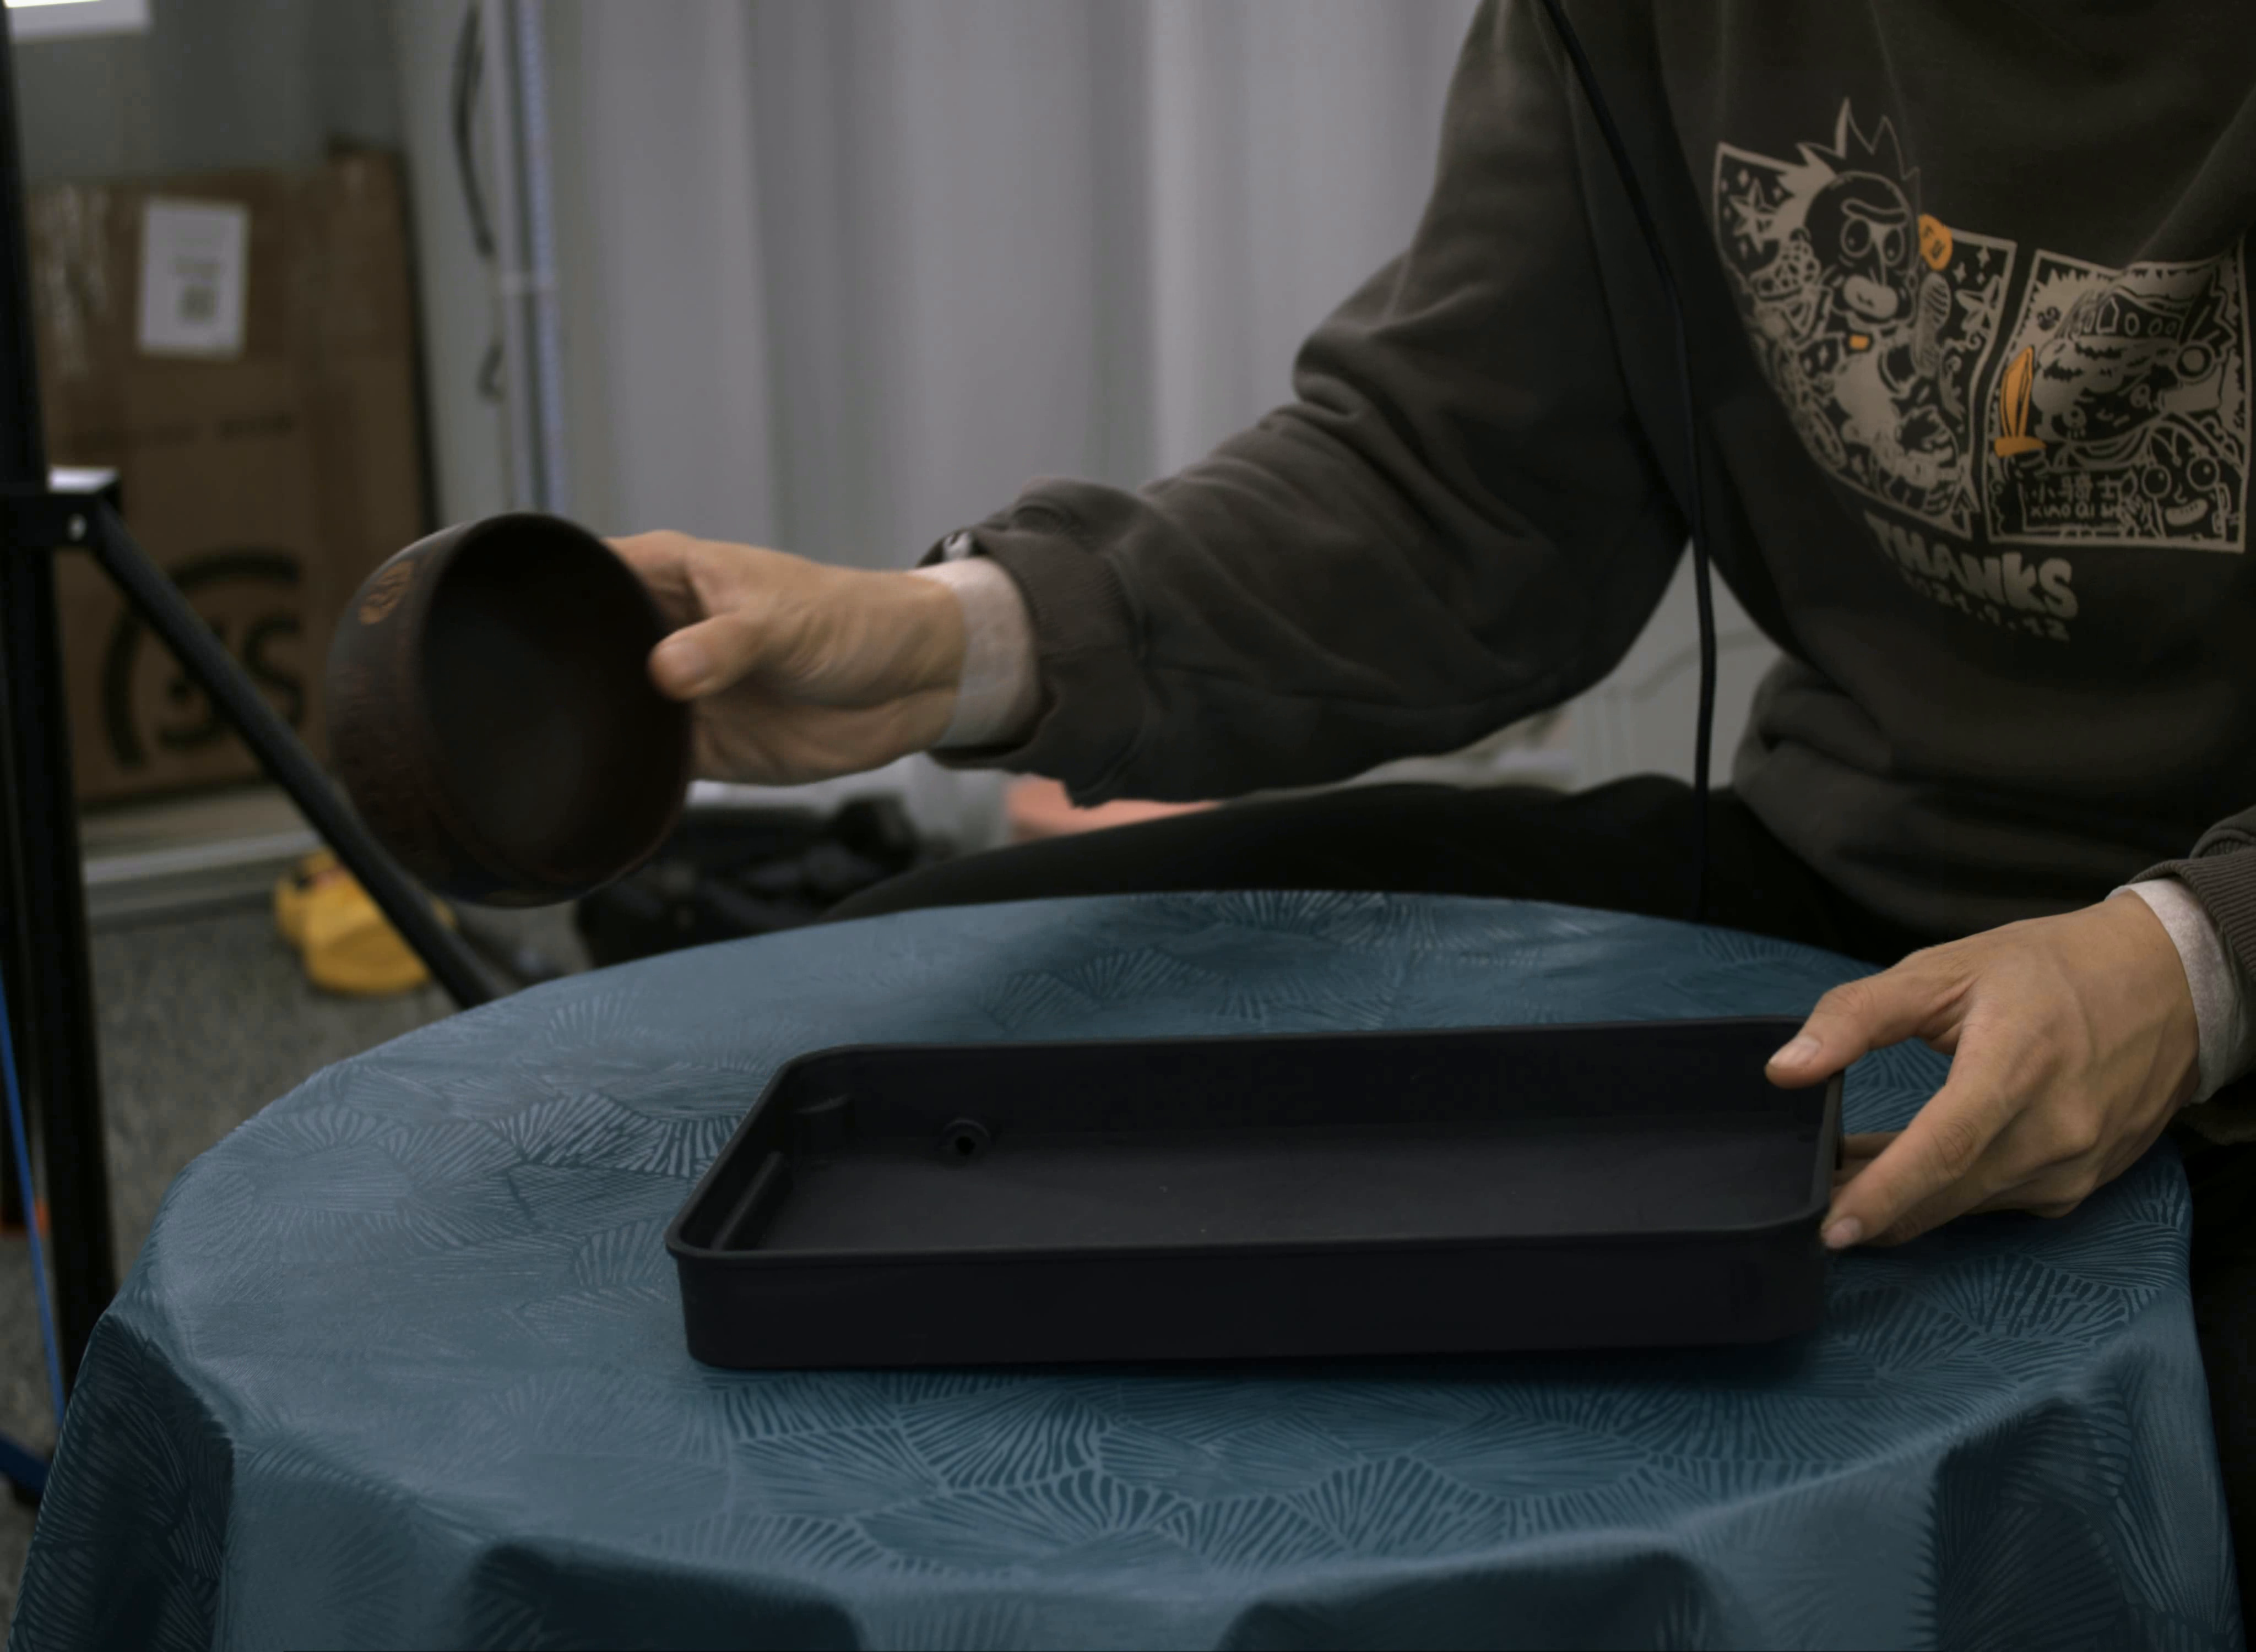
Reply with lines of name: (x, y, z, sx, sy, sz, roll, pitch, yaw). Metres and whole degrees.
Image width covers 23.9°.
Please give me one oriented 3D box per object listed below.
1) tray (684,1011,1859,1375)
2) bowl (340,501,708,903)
tray: (0.046, 0.101, 1.488, 0.319, 0.037, 0.184, -3, 15, 10)
bowl: (-0.190, -0.033, 1.609, 0.071, 0.118, 0.116, -17, 4, 37)
